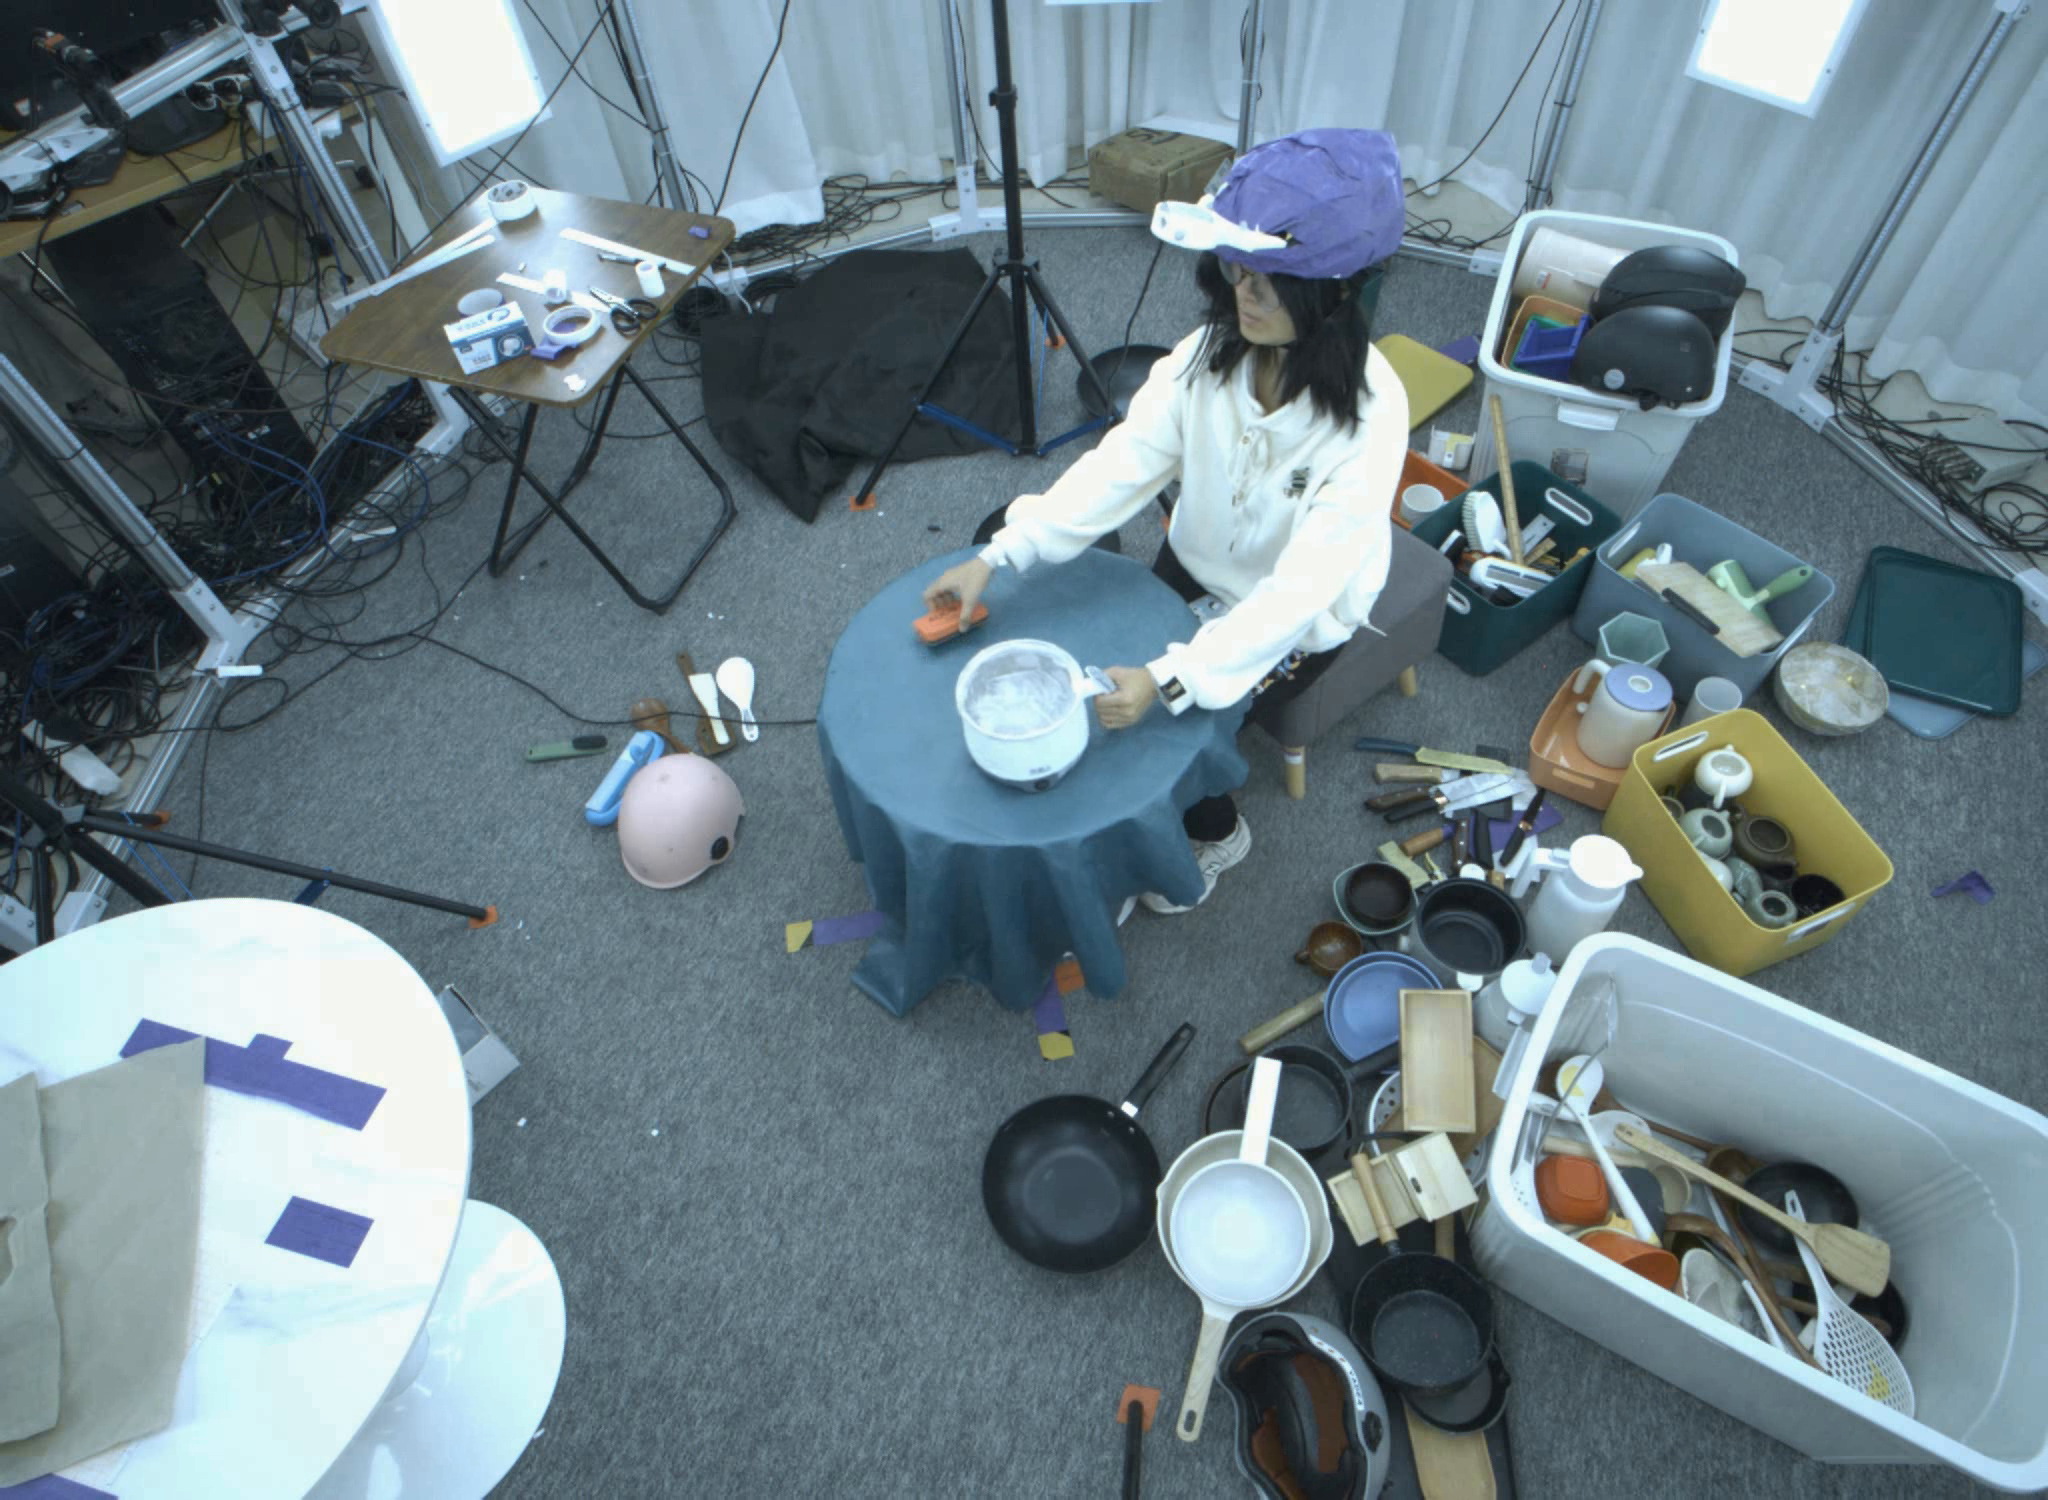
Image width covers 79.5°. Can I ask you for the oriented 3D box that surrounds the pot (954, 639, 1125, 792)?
[{"bbox_3d":[0.026,-0.055,1.737,0.234,0.138,0.176,-16,55,-5],"label":"pot"}]

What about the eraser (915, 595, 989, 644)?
[{"bbox_3d":[-0.113,-0.204,1.908,0.109,0.023,0.057,-27,42,-20],"label":"eraser"}]
